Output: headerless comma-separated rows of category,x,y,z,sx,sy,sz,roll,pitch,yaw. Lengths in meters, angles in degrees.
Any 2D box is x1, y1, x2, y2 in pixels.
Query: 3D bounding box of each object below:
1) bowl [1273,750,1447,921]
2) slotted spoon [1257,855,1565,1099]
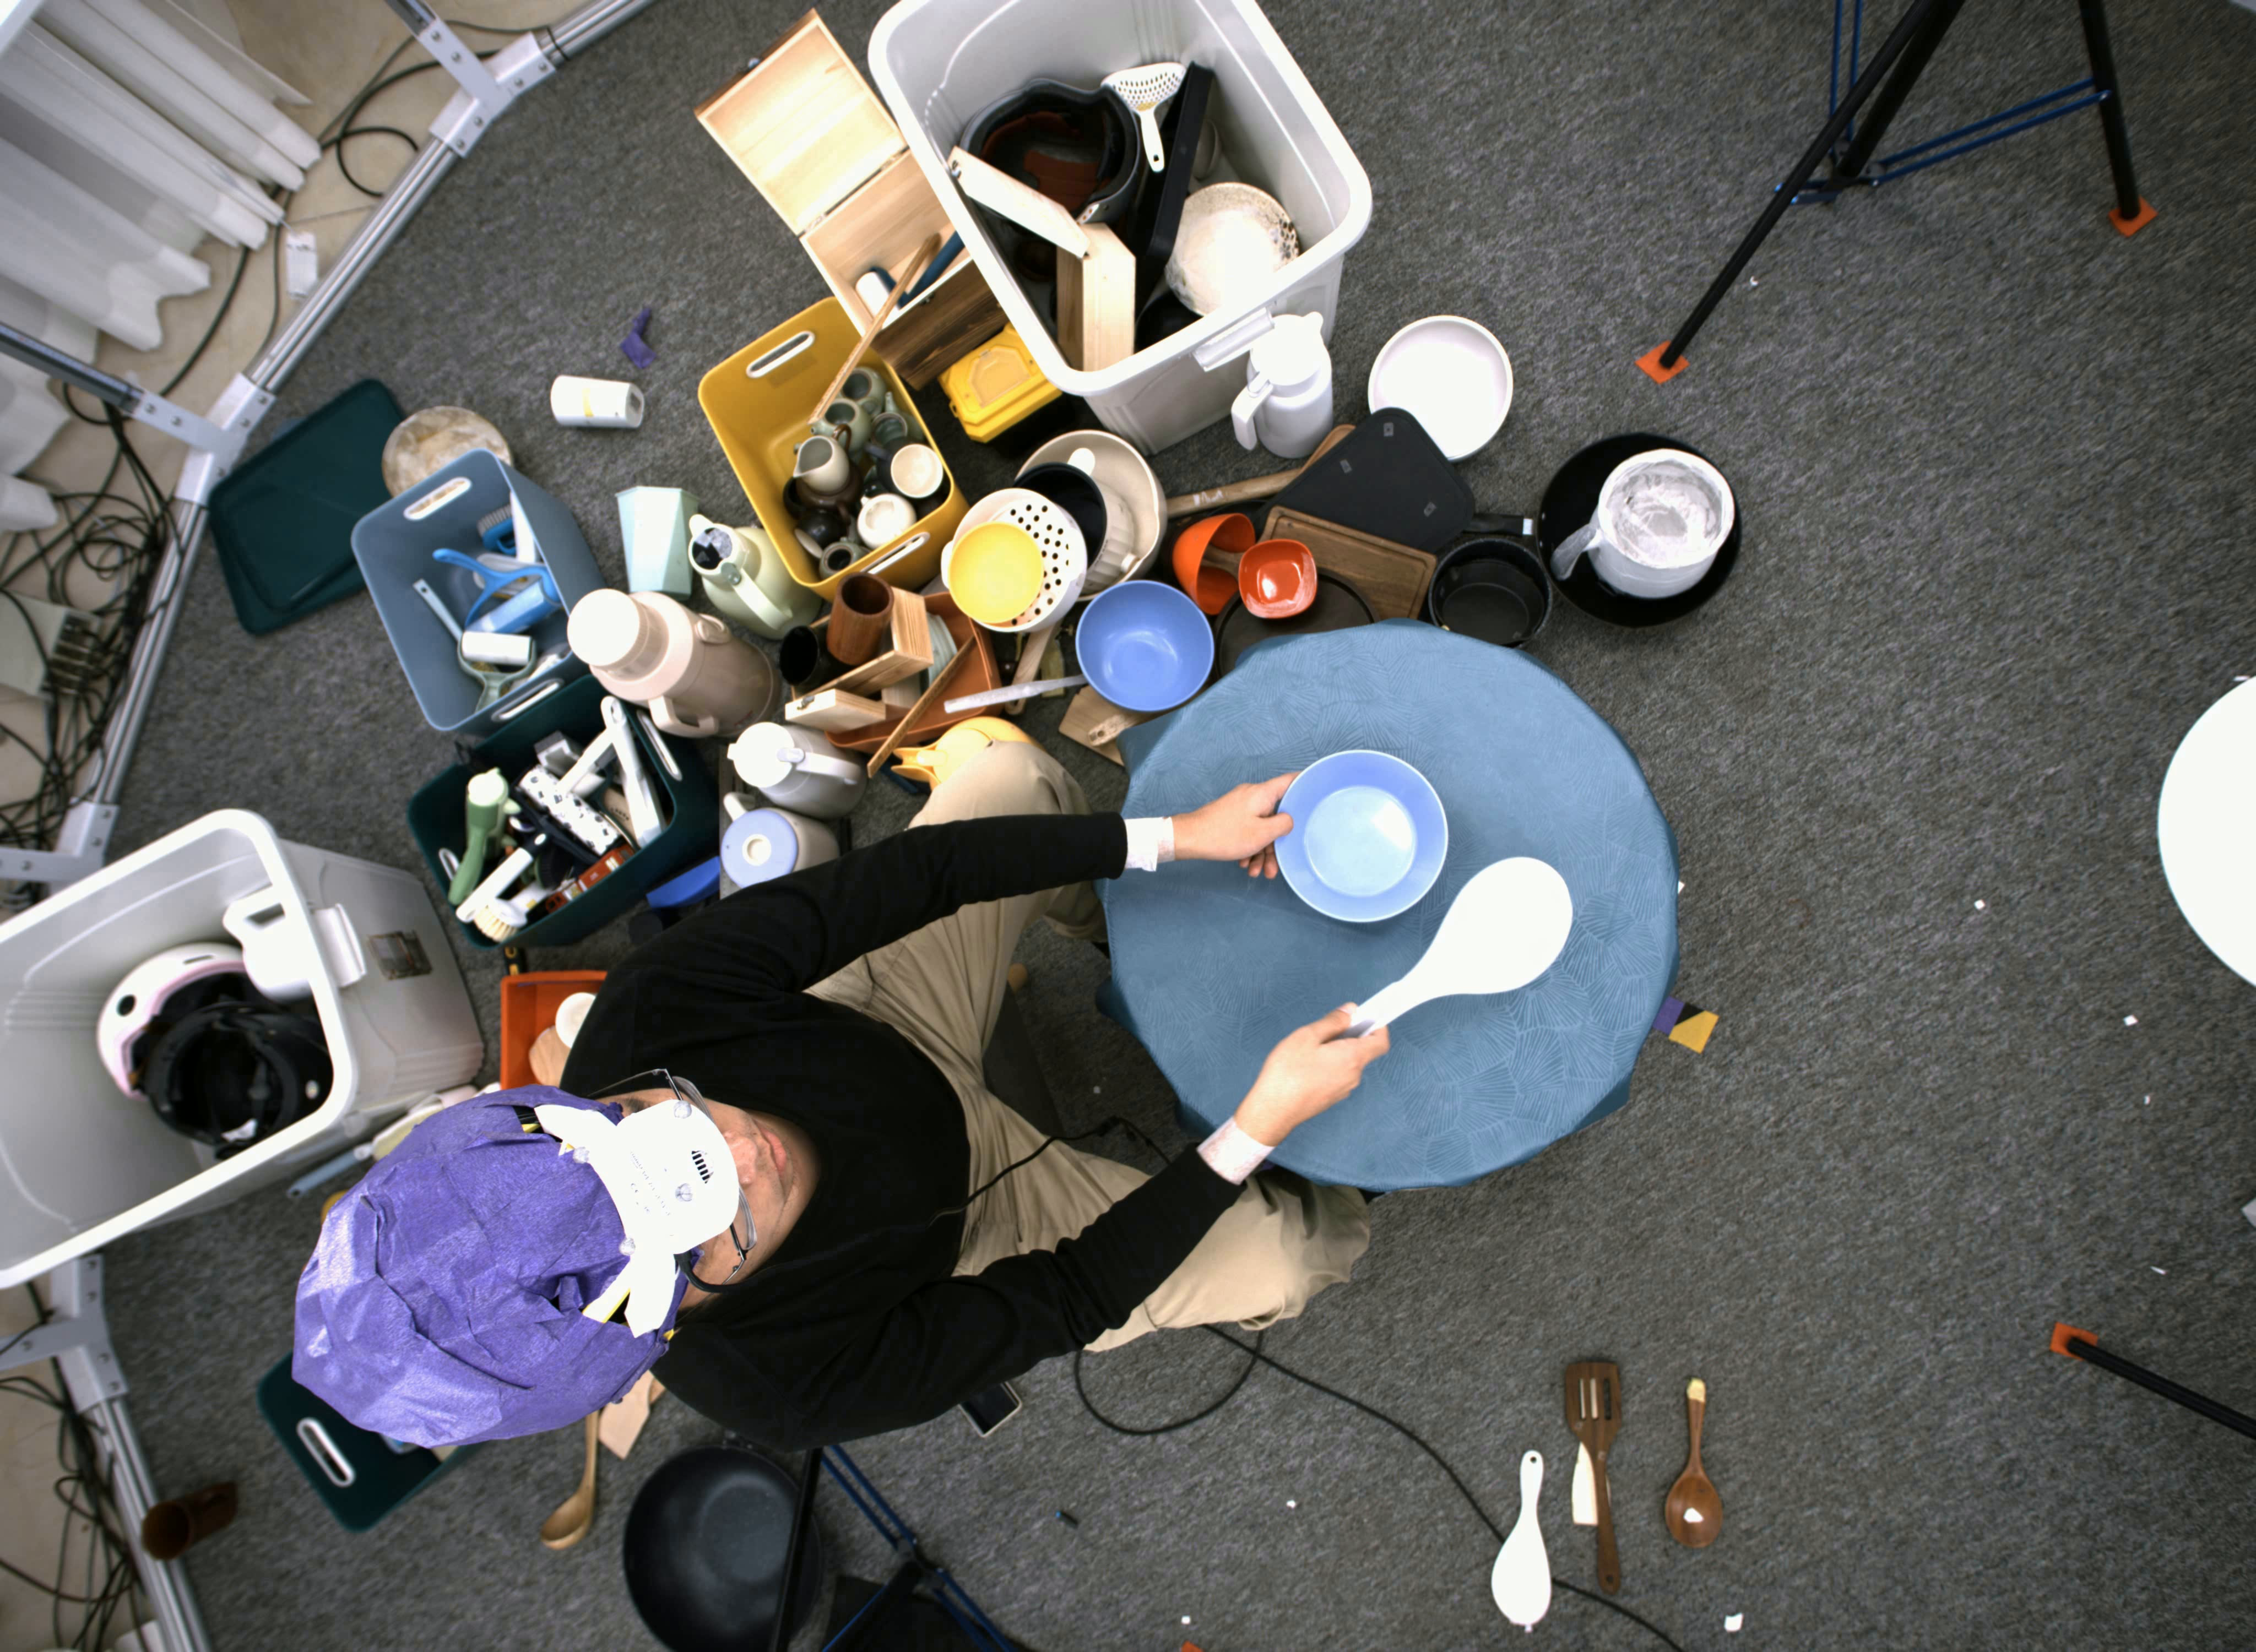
bowl,0.240,0.012,1.433,0.177,0.070,0.175,-1,86,11
slotted spoon,0.270,0.149,1.319,0.348,0.045,0.138,-37,119,-6
